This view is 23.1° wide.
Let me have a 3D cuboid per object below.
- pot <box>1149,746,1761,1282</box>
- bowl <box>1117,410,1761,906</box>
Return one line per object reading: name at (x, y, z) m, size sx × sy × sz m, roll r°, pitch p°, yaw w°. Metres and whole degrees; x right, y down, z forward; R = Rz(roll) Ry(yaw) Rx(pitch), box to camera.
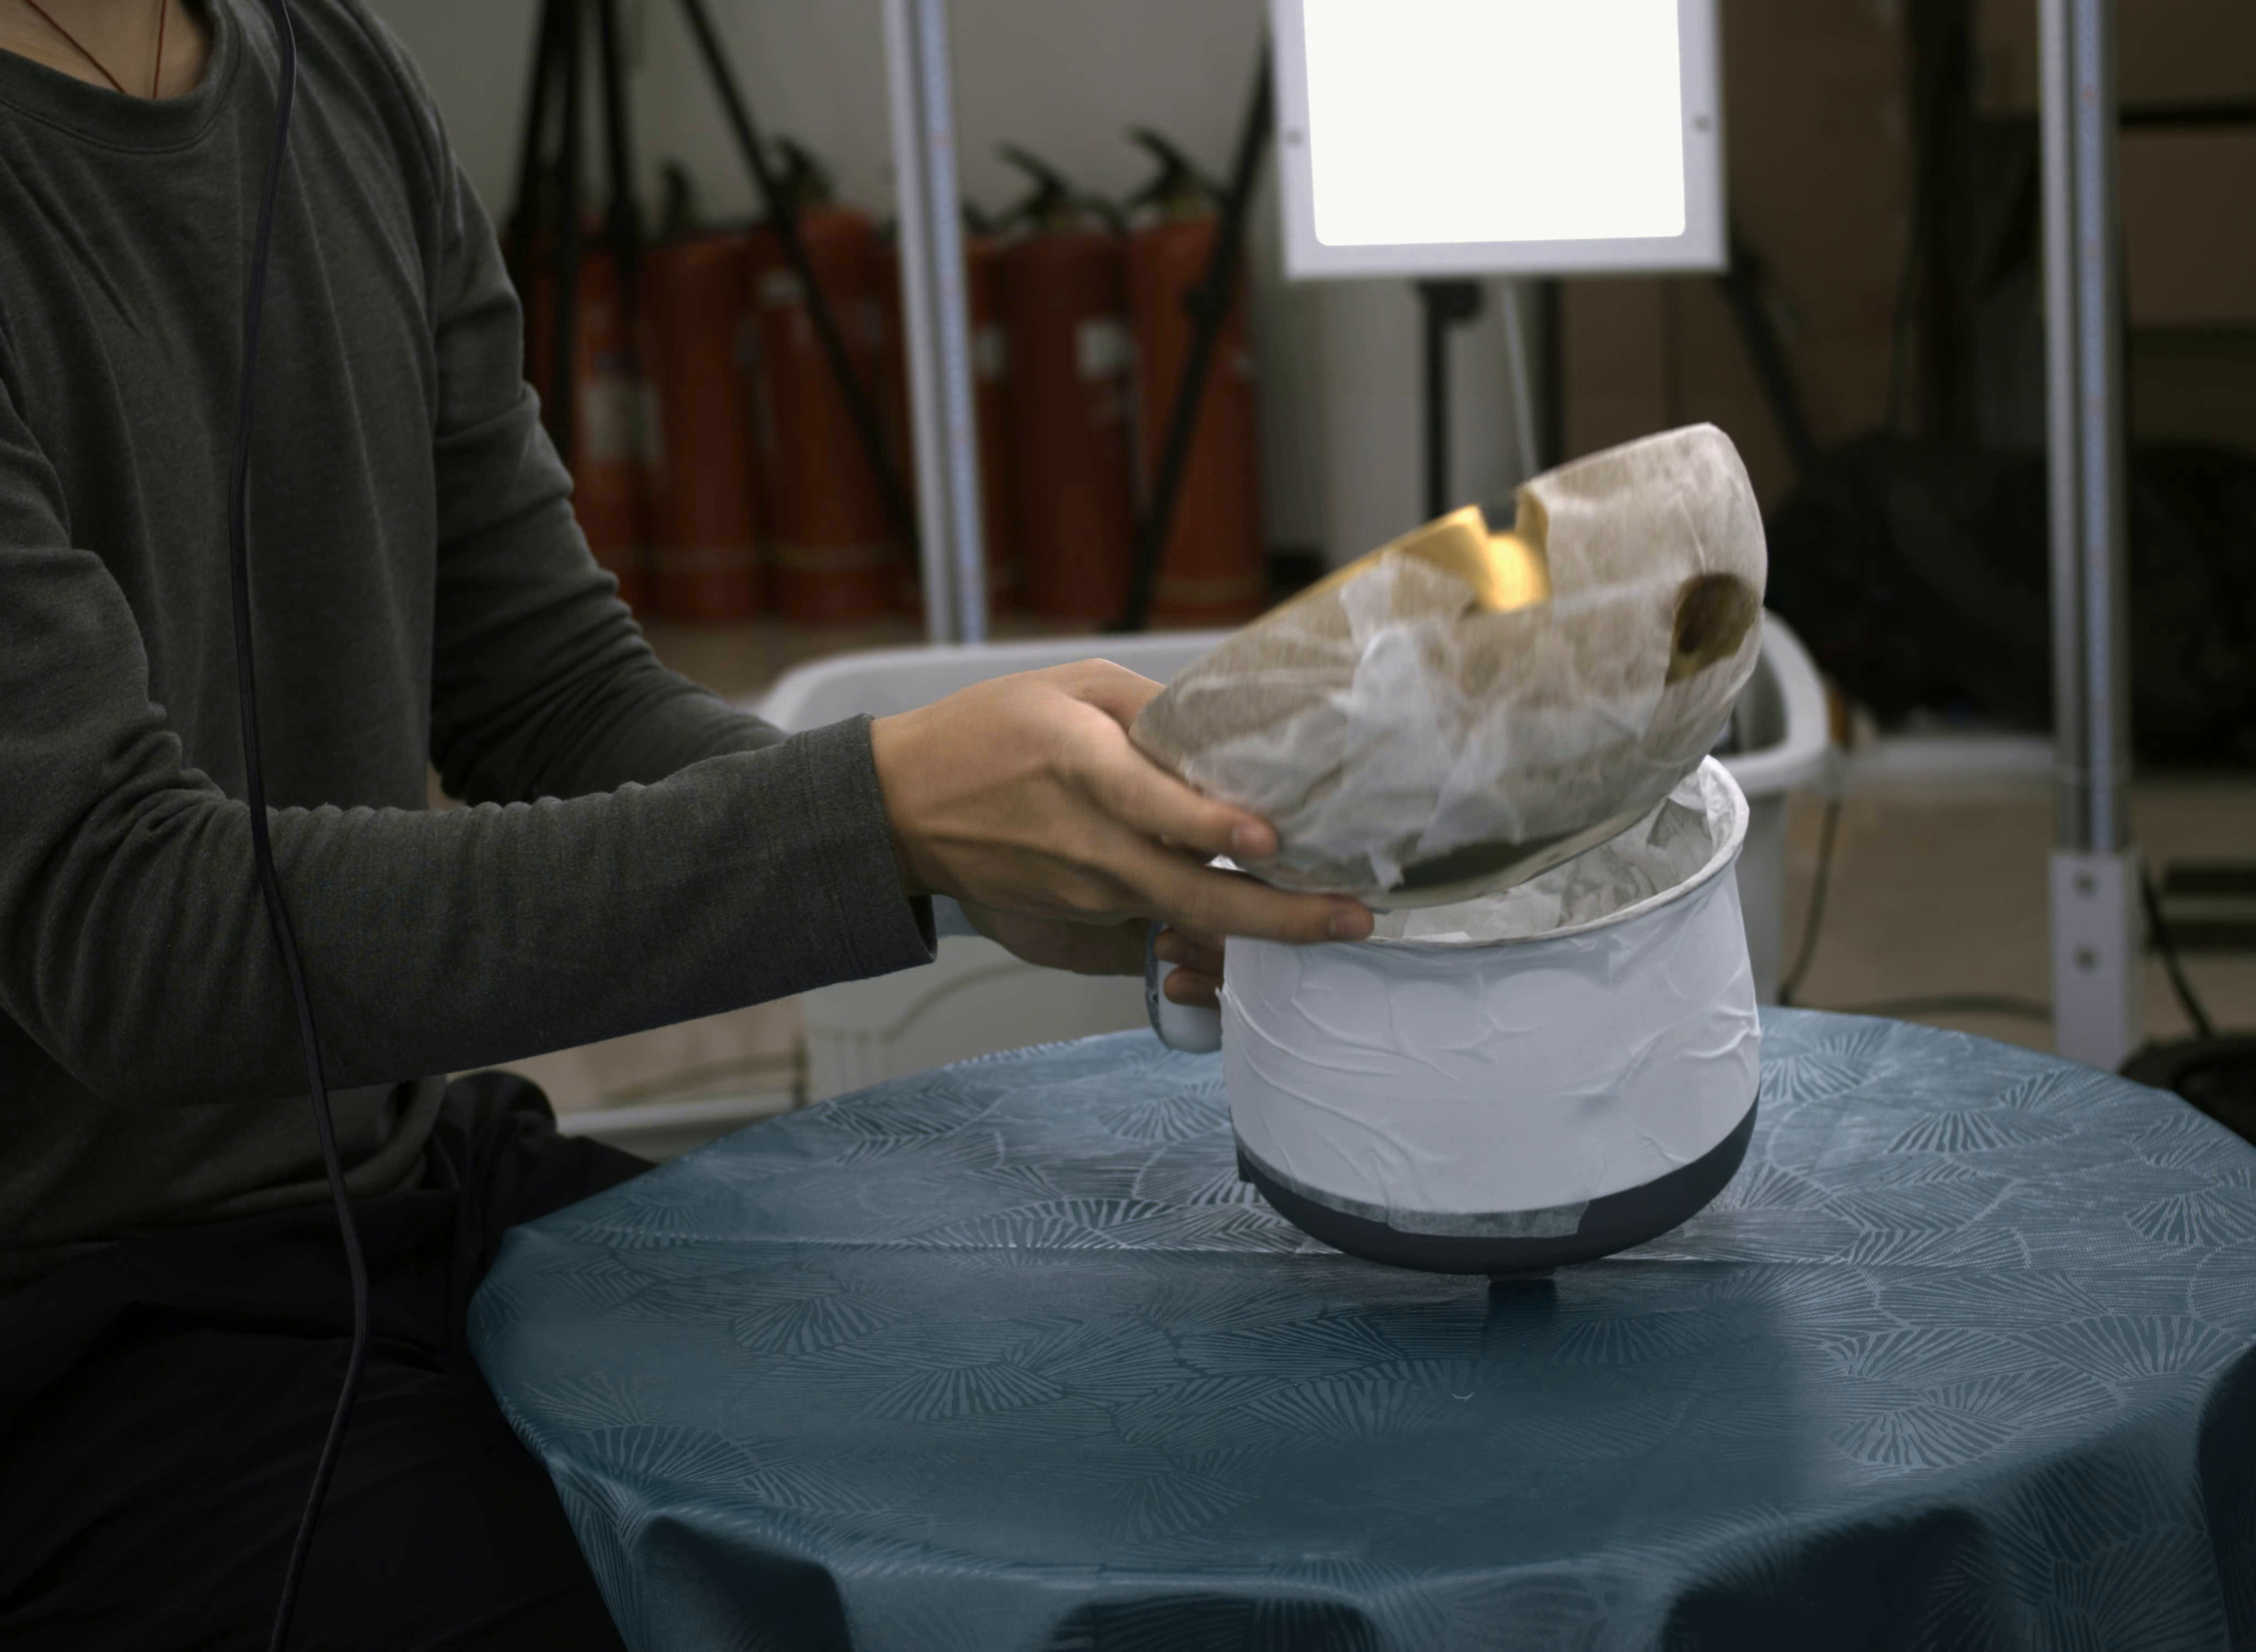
pot at (0.098, 0.050, 1.826) m, size 0.238 × 0.137 × 0.174 m, roll 16°, pitch 32°, yaw 40°
bowl at (0.107, -0.033, 1.643) m, size 0.213 × 0.095 × 0.215 m, roll -26°, pitch -11°, yaw -7°
